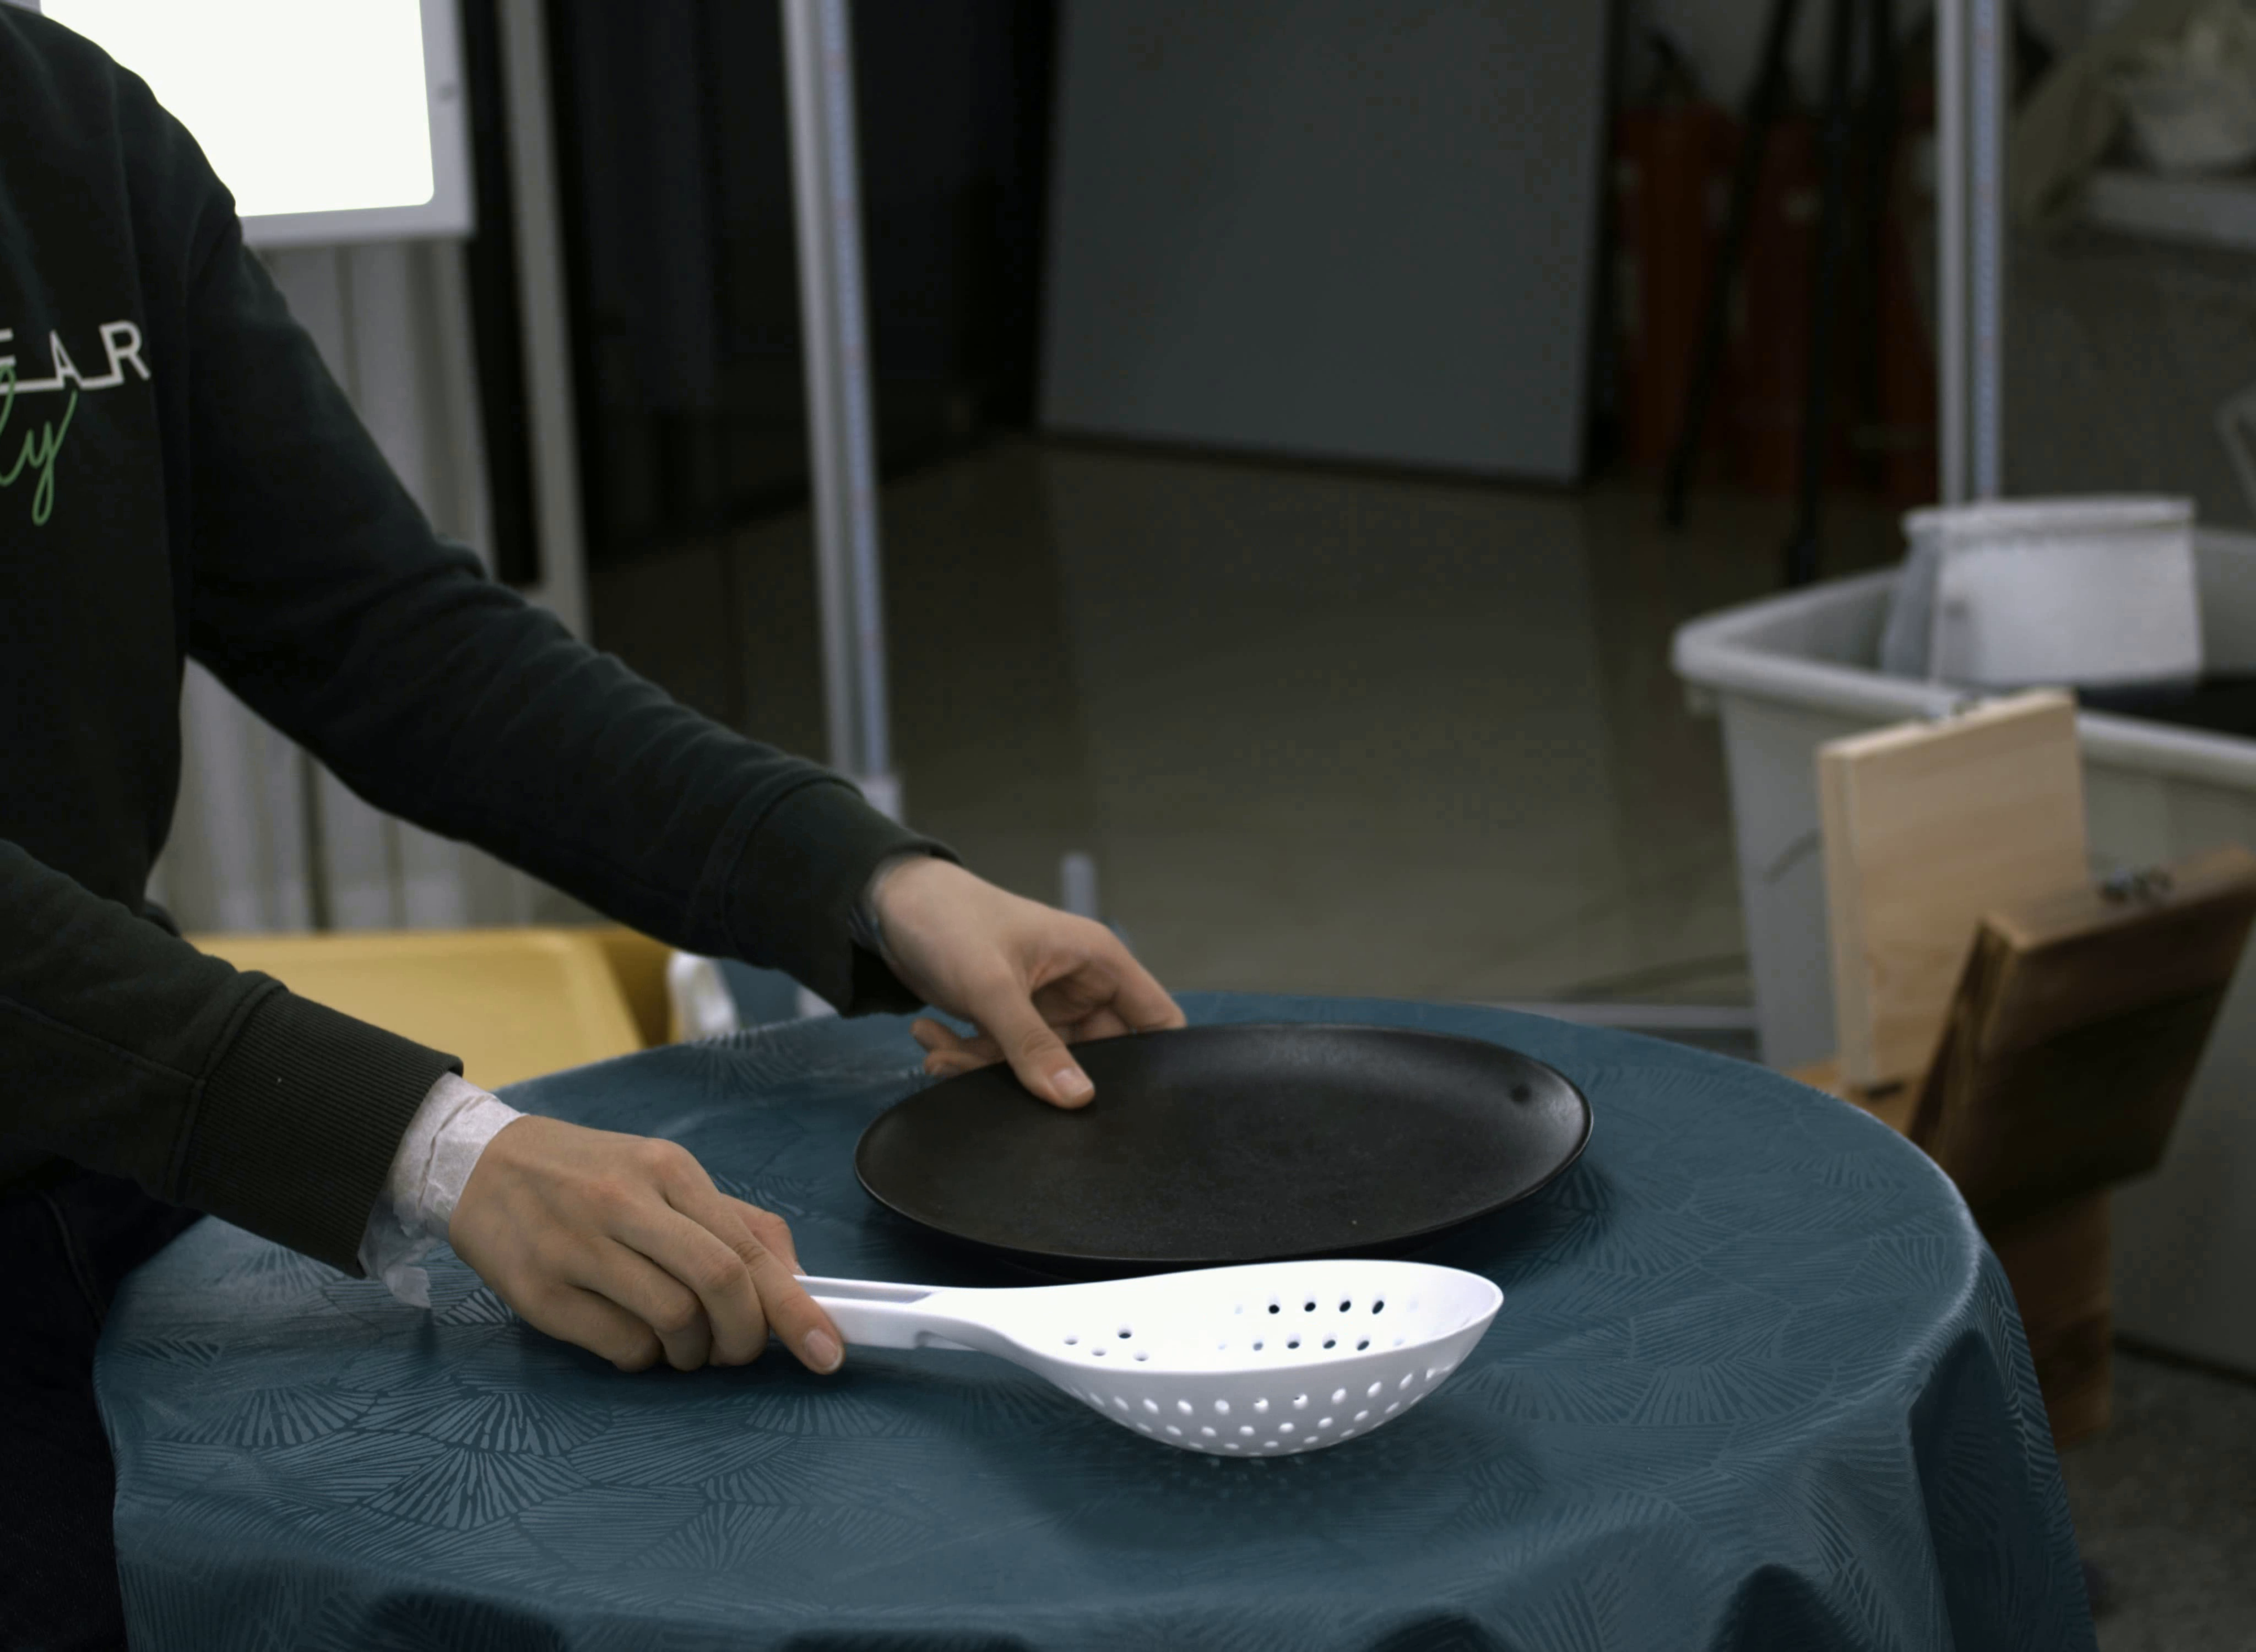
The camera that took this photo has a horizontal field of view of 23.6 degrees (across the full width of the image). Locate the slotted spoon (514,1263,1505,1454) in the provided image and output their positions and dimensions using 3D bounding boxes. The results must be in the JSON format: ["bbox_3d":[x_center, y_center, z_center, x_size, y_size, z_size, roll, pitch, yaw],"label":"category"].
[{"bbox_3d":[-0.046,0.145,1.591,0.352,0.046,0.133,5,10,36],"label":"slotted spoon"}]

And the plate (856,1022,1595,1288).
[{"bbox_3d":[0.032,0.110,1.752,0.241,0.024,0.245,-5,15,0],"label":"plate"}]
